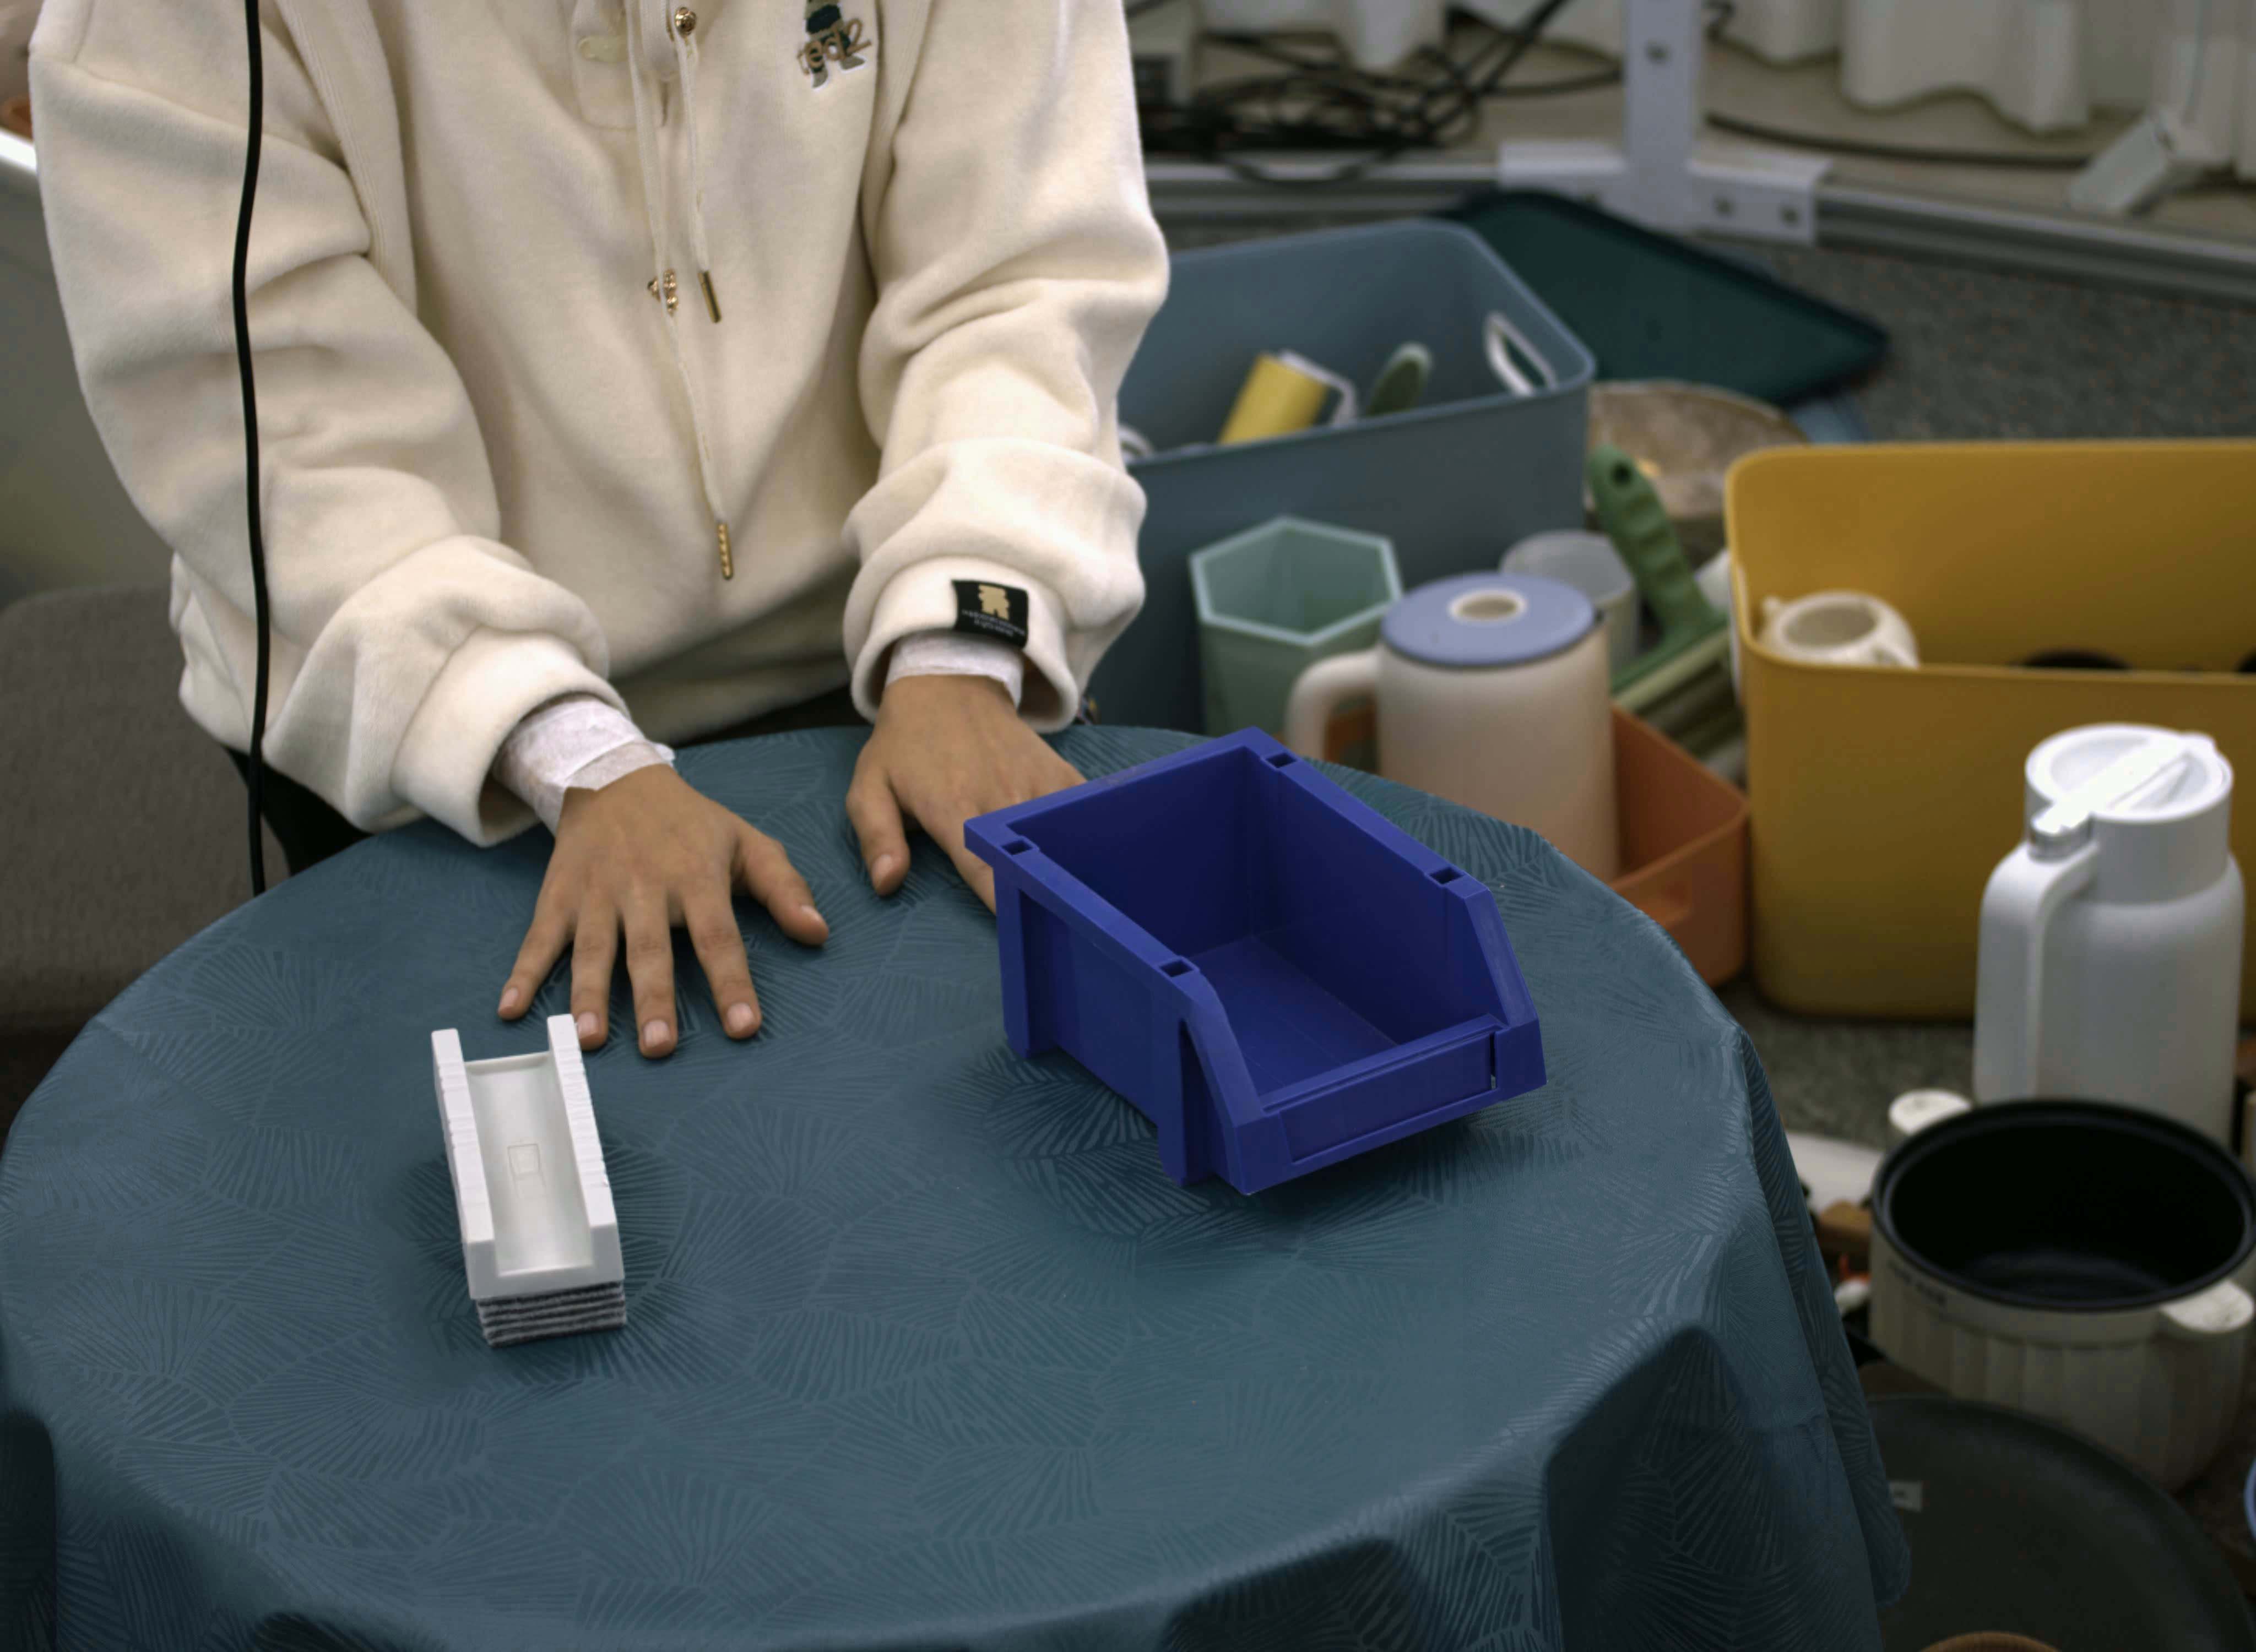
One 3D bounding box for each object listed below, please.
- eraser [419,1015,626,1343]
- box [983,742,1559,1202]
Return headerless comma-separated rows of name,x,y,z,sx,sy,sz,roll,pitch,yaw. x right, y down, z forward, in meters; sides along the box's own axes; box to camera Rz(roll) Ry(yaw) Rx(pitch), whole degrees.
eraser,-0.199,0.115,1.842,0.050,0.046,0.136,-10,30,-10
box,0.048,0.053,1.901,0.125,0.081,0.180,-17,28,-25
